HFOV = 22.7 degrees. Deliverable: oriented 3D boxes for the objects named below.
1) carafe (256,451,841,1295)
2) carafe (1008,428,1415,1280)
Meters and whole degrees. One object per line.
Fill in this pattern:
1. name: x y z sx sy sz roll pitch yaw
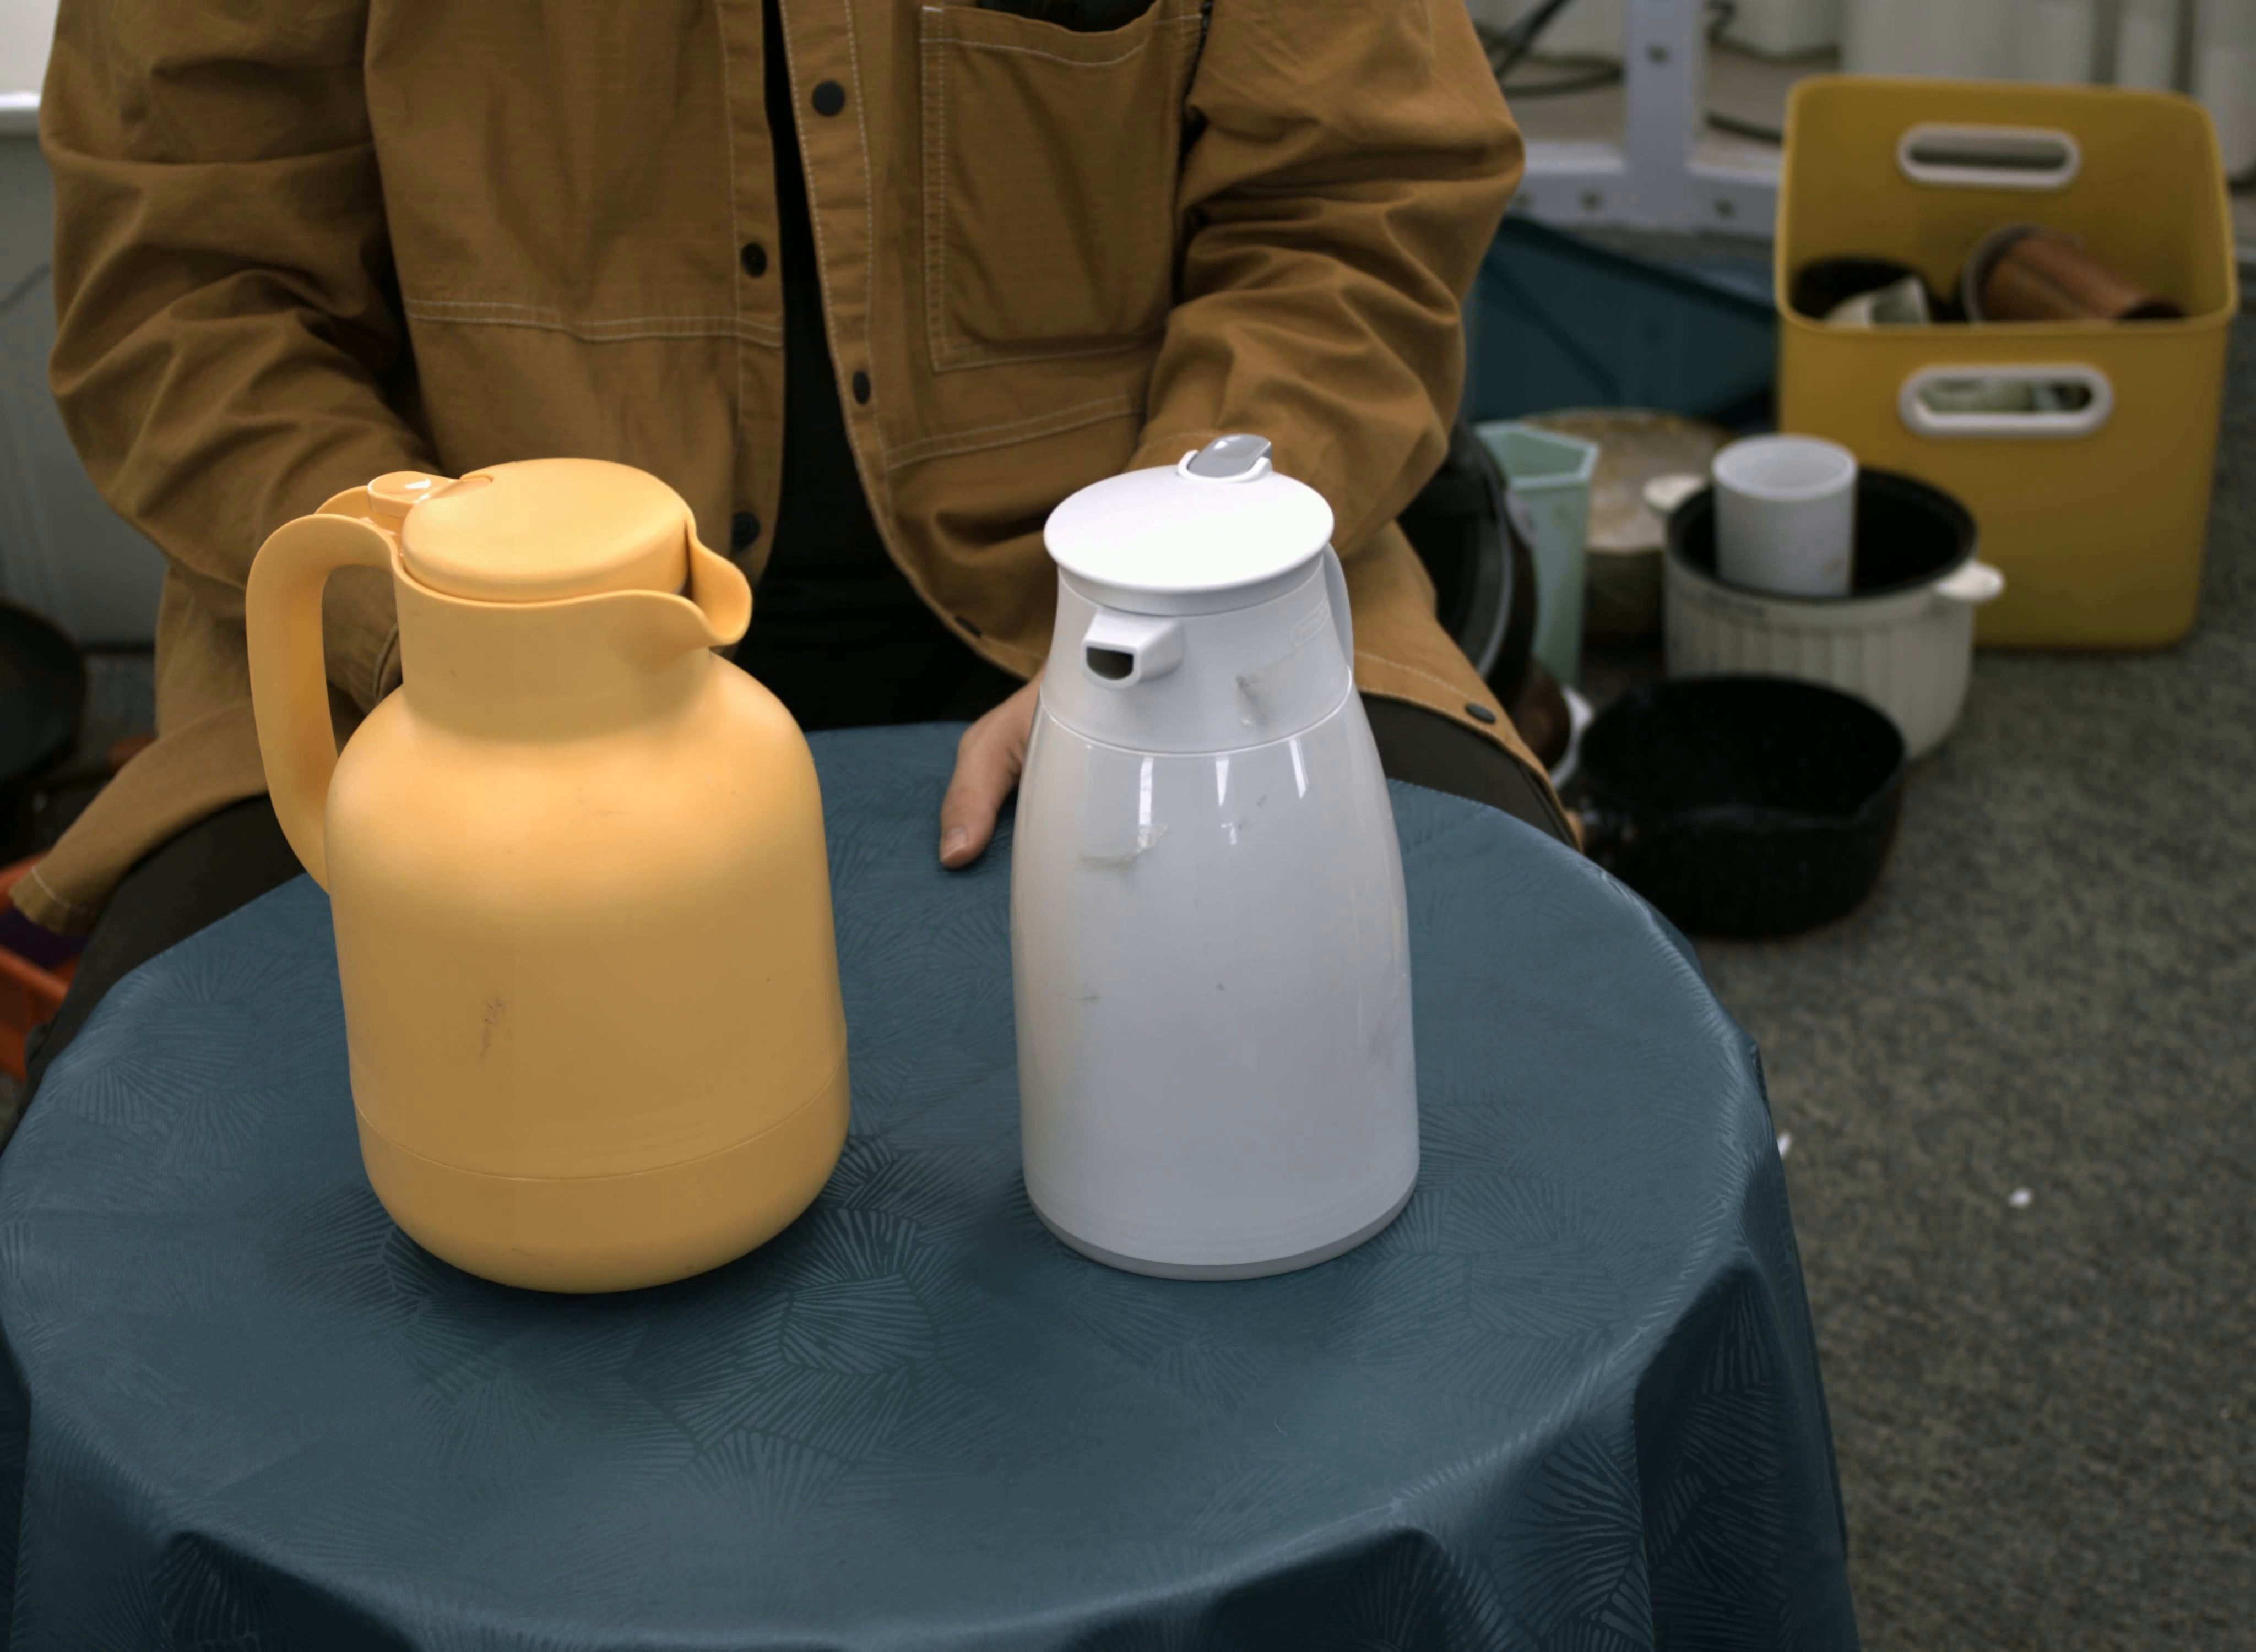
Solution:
1. carafe: -0.193 0.006 1.823 0.201 0.258 0.166 16 30 31
2. carafe: 0.031 -0.002 1.828 0.131 0.246 0.170 8 28 22
